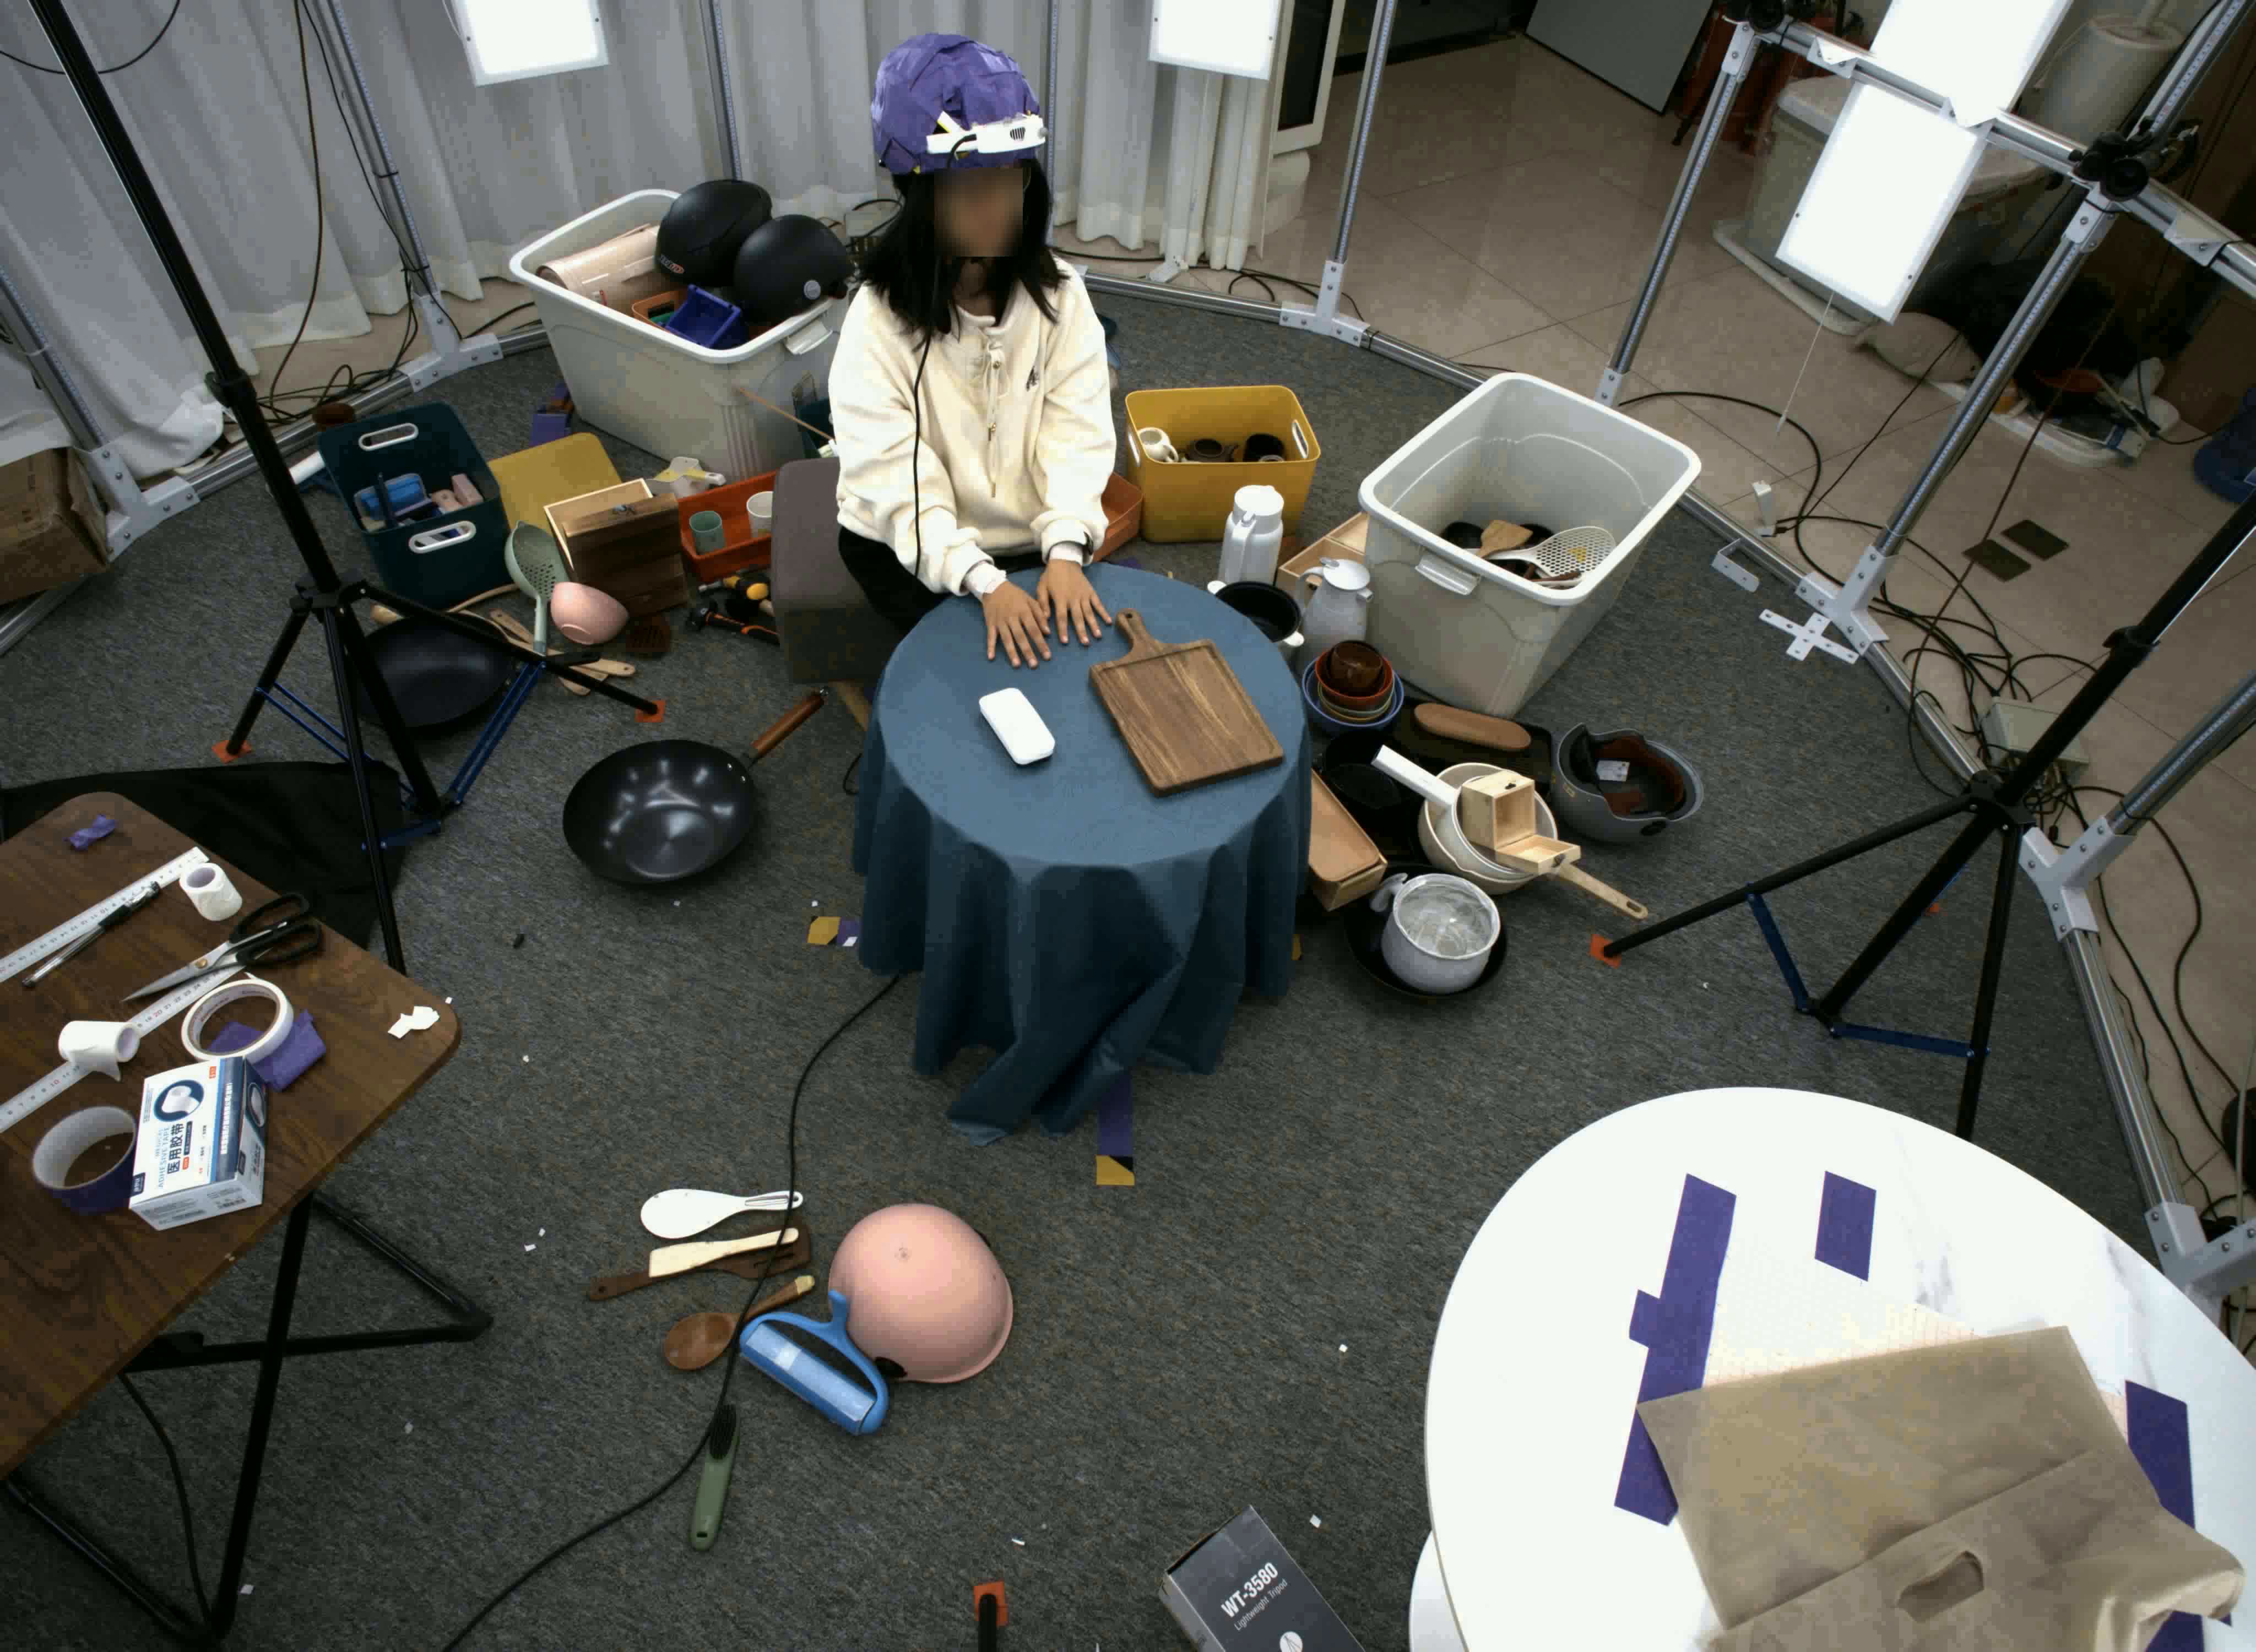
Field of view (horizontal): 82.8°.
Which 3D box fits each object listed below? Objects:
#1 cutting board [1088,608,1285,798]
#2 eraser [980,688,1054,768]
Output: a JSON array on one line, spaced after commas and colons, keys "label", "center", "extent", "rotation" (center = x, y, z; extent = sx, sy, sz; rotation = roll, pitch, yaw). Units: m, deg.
[{"label": "cutting board", "center": [0.060, -0.193, 1.828], "extent": [0.201, 0.022, 0.360], "rotation": [-15, 52, -17]}, {"label": "eraser", "center": [-0.152, -0.138, 1.760], "extent": [0.063, 0.034, 0.134], "rotation": [-20, 54, -19]}]
